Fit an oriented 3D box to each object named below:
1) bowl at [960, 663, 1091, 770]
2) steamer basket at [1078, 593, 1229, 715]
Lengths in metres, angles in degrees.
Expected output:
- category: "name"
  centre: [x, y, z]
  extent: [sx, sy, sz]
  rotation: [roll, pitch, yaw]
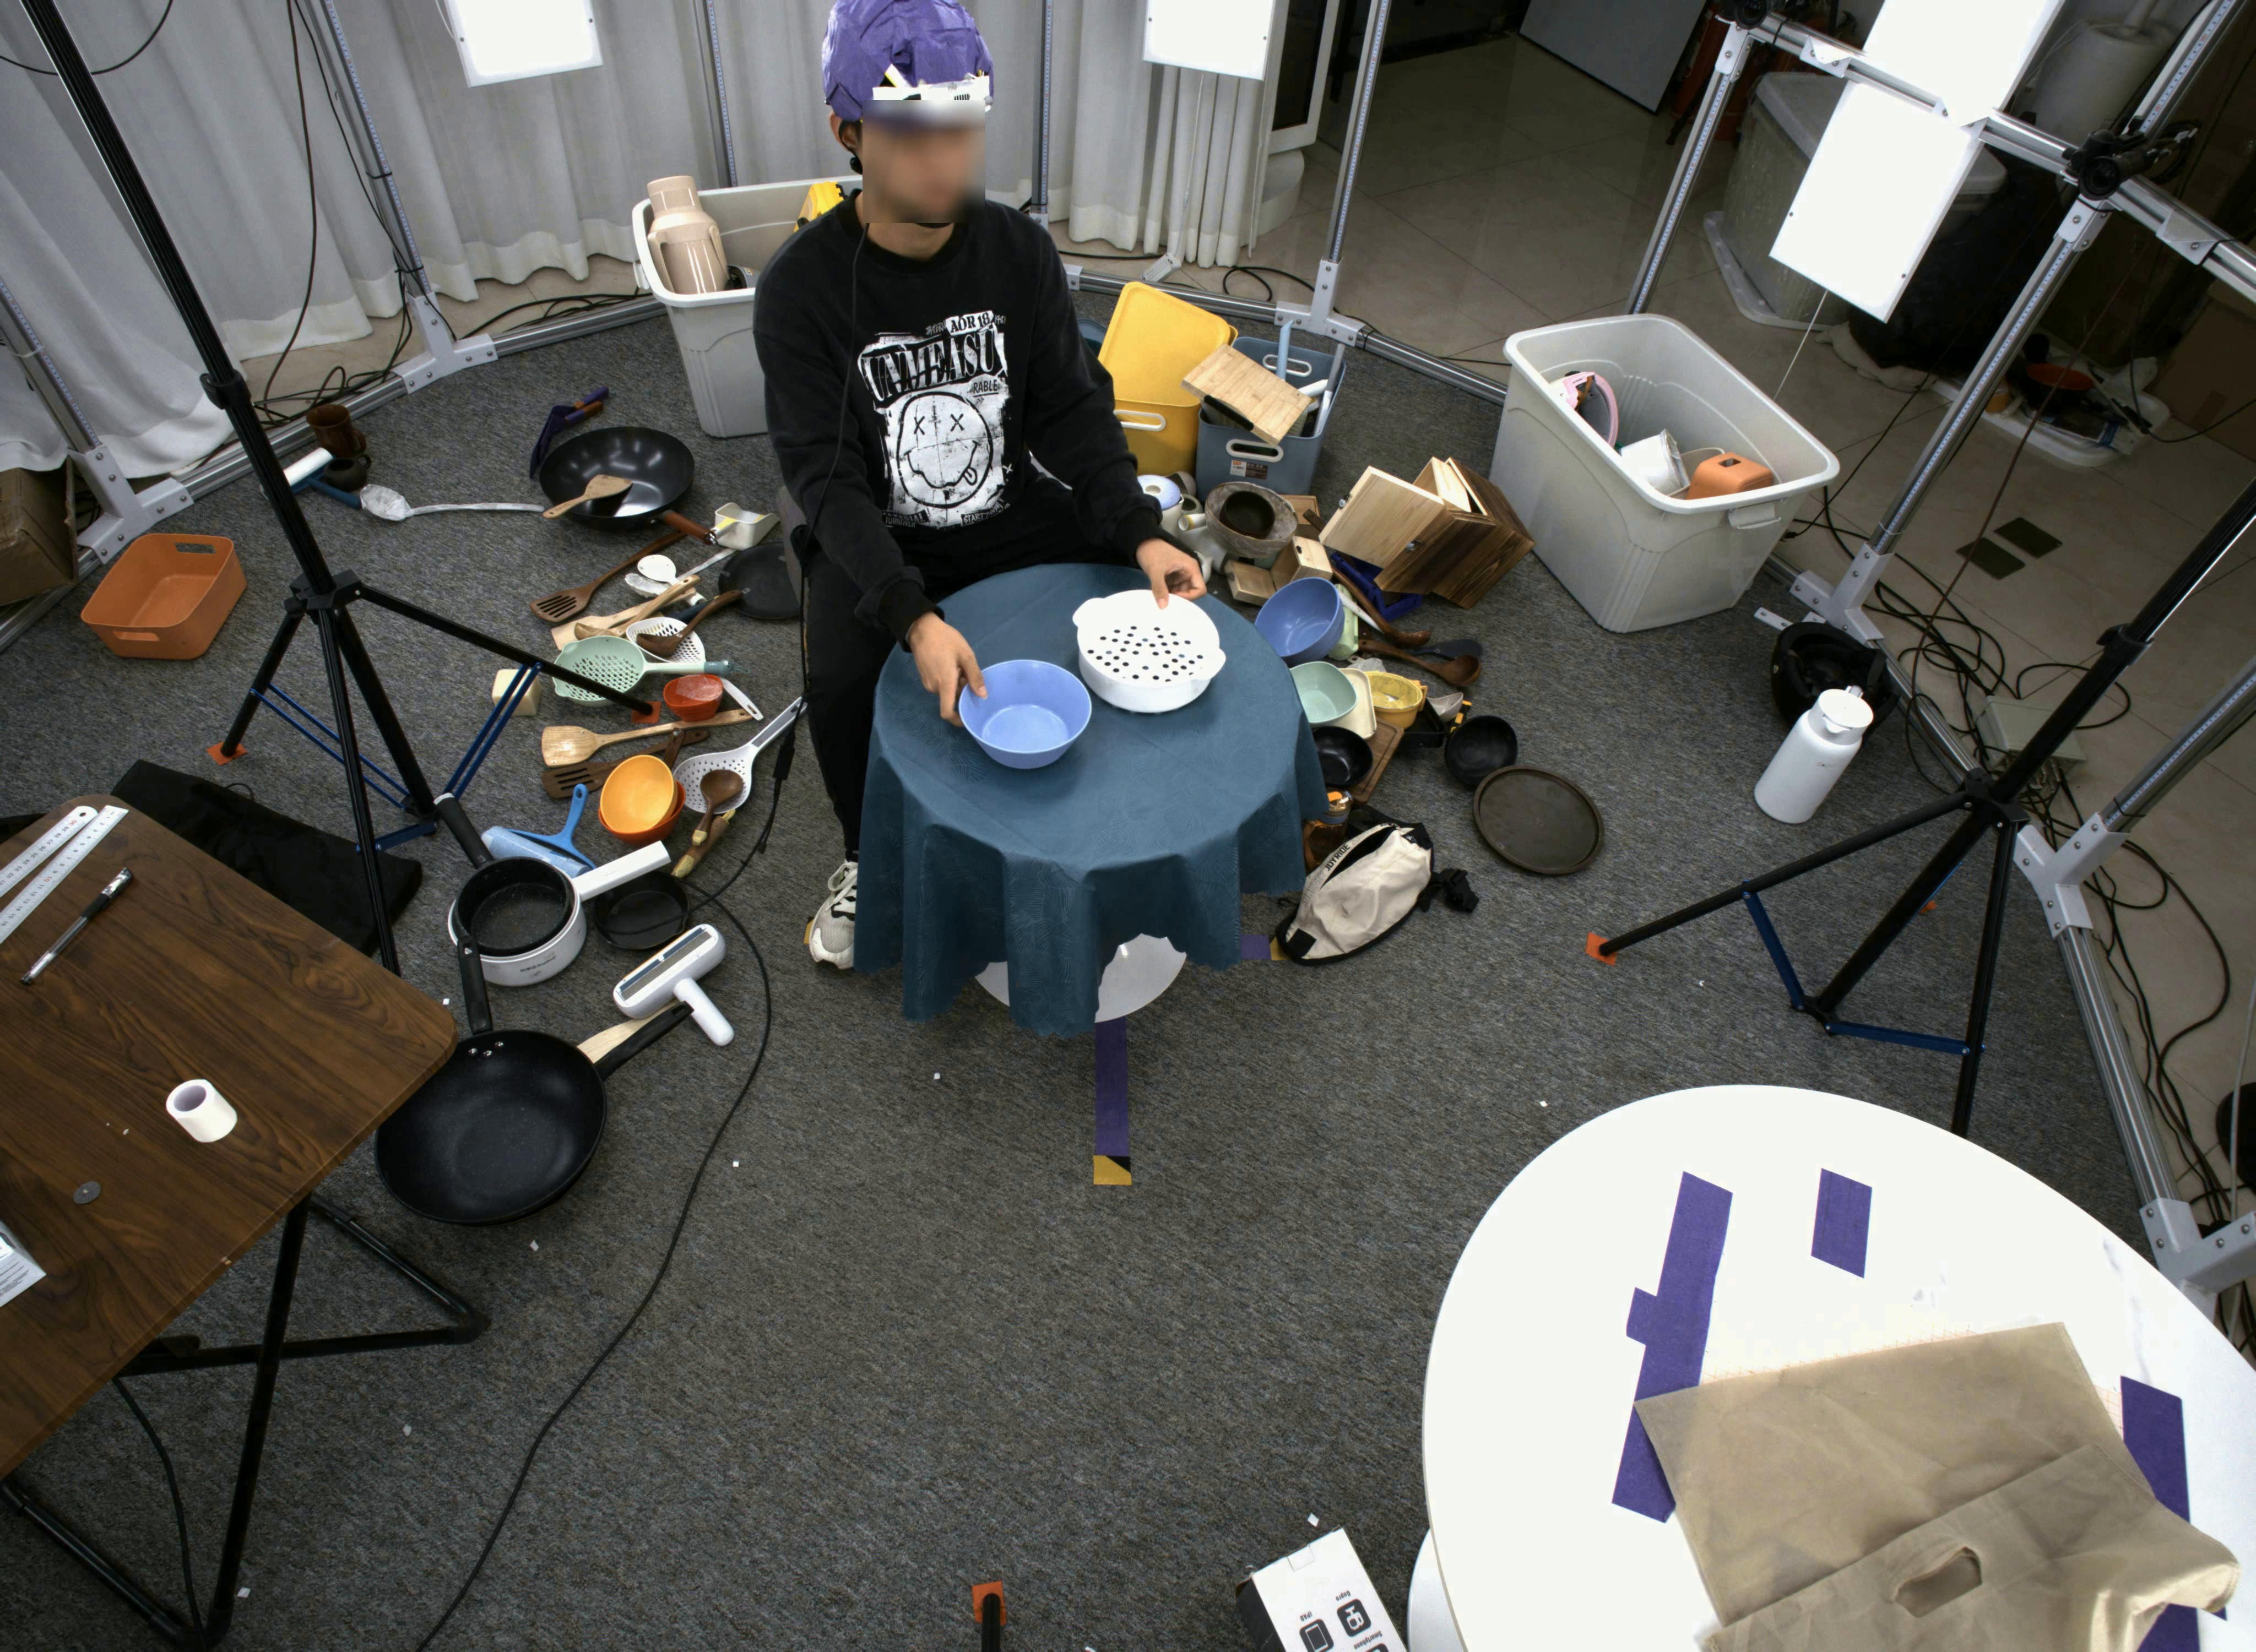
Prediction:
- category: "bowl"
  centre: [-0.140, -0.140, 1.751]
  extent: [0.176, 0.068, 0.180]
  rotation: [2, 48, -3]
- category: "steamer basket"
  centre: [0.033, -0.247, 1.858]
  extent: [0.232, 0.067, 0.205]
  rotation: [27, 52, 16]
